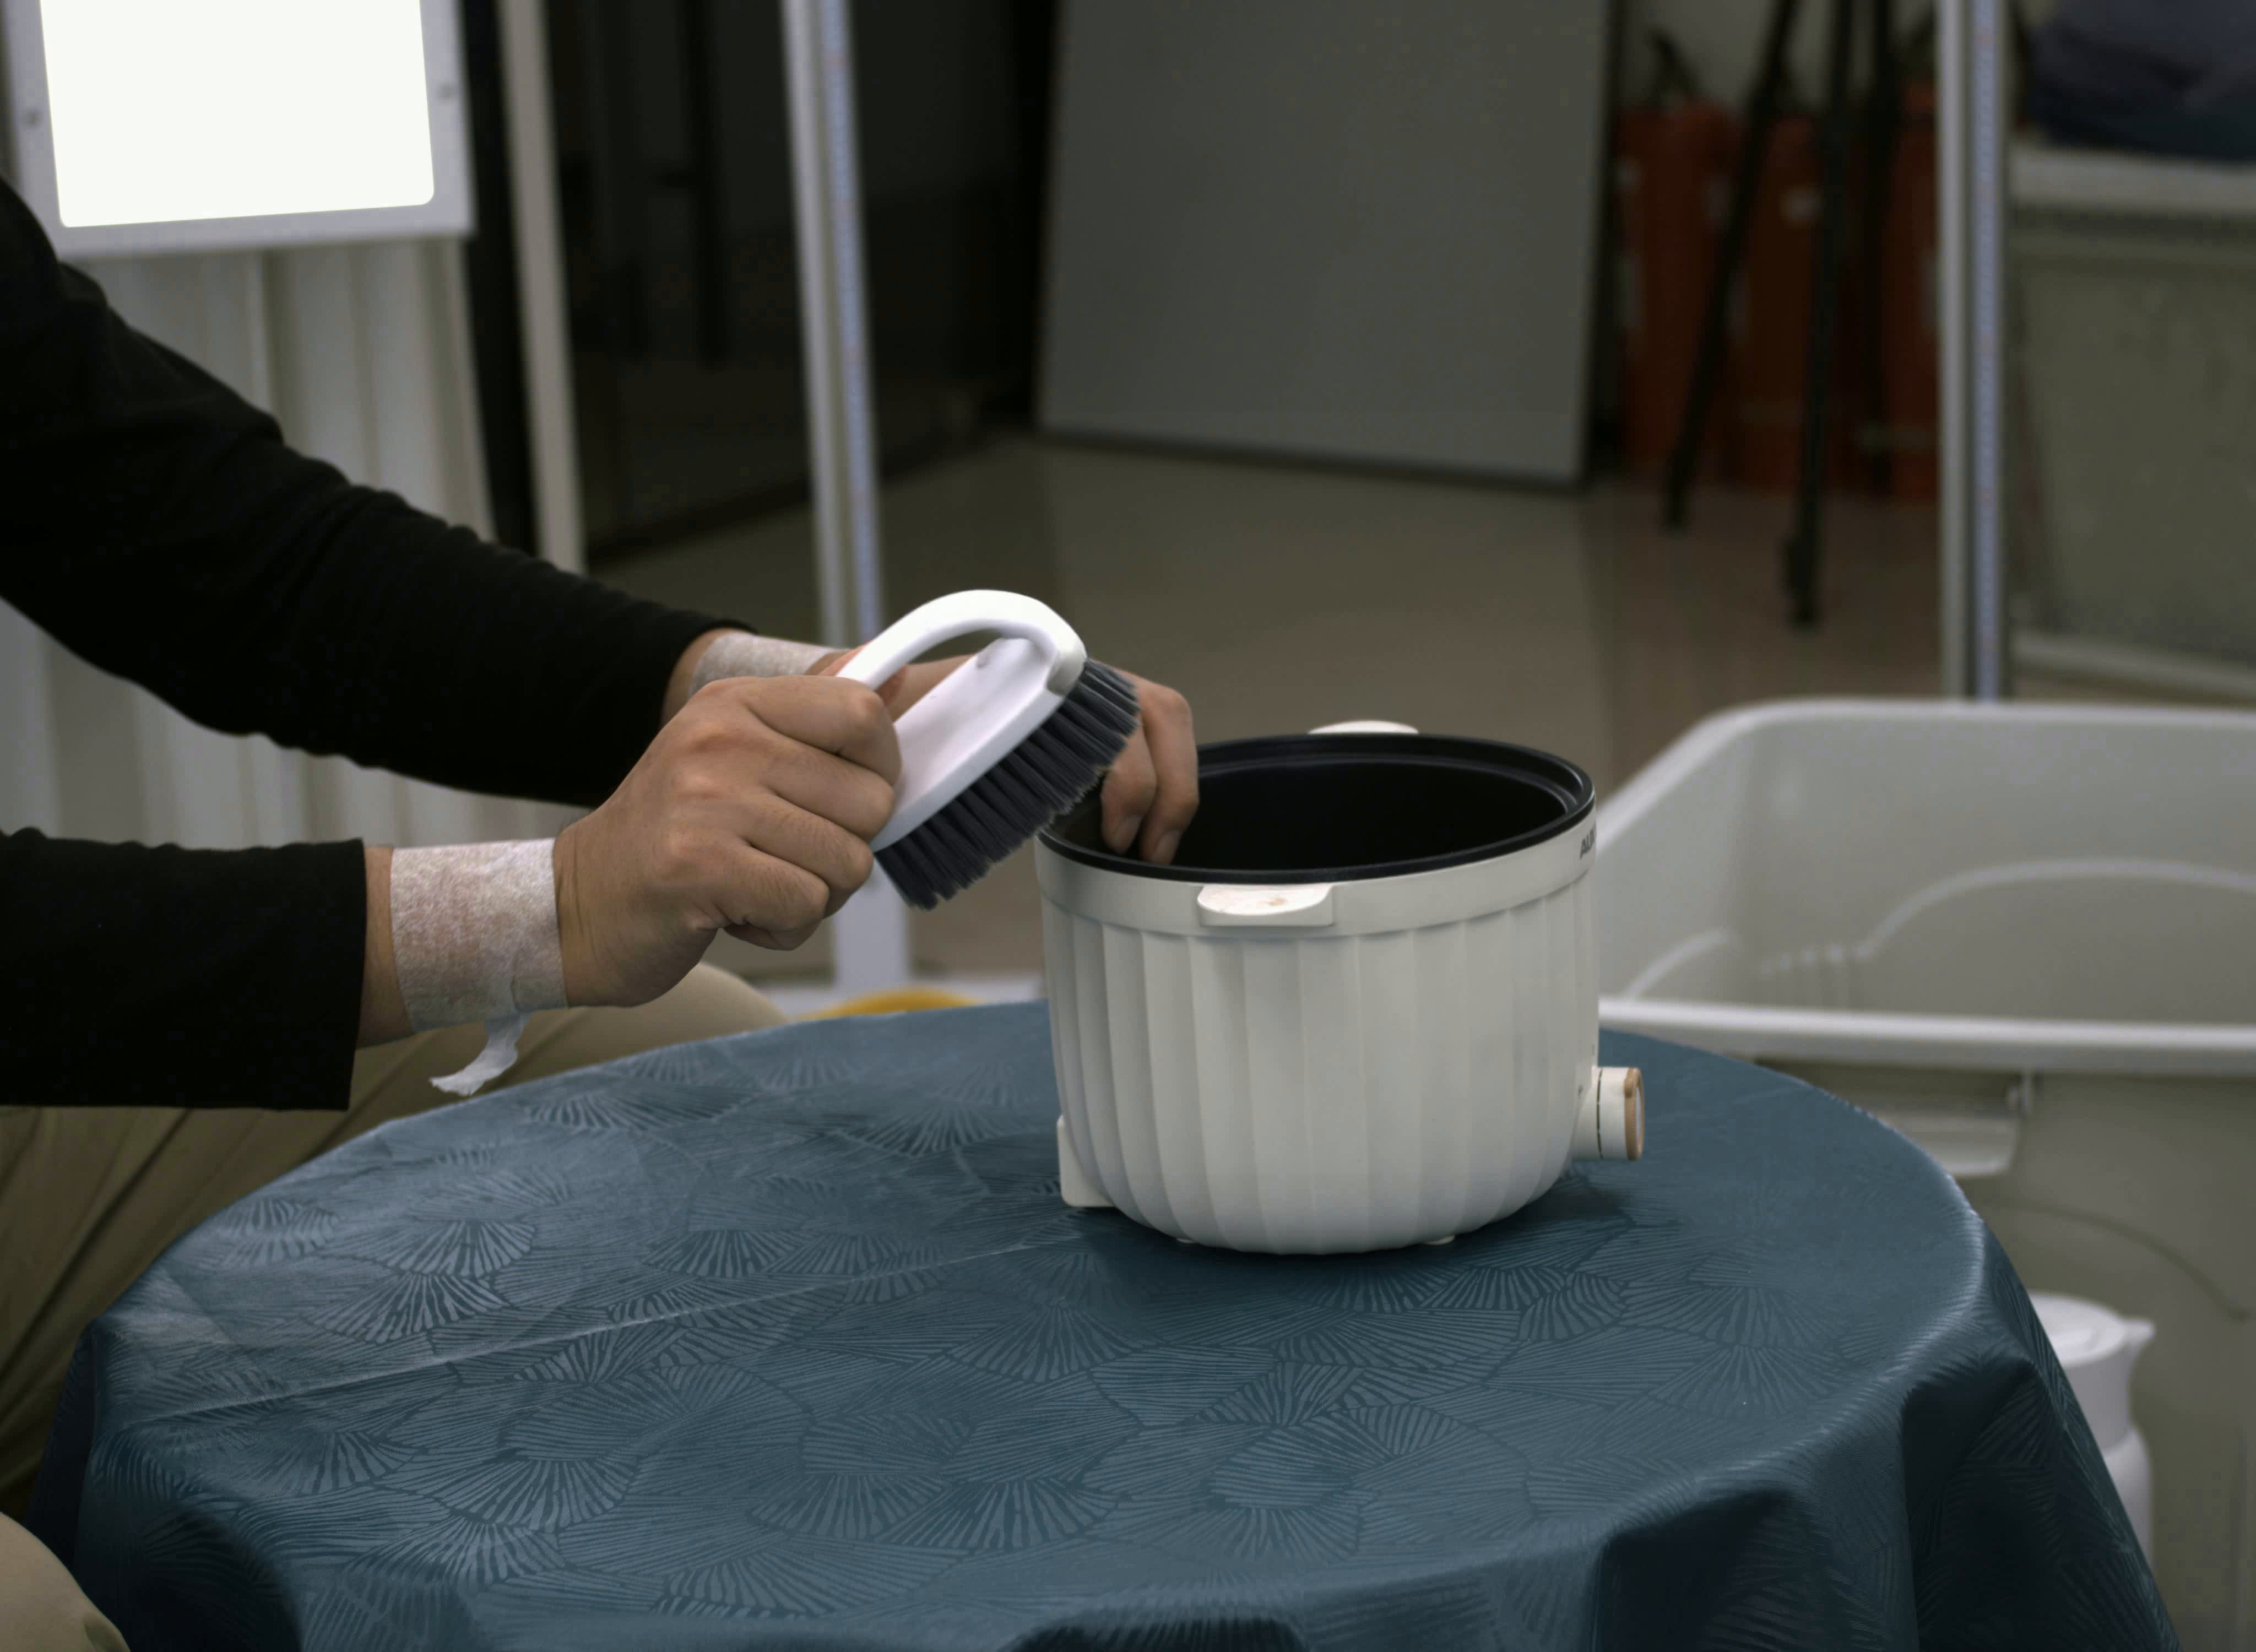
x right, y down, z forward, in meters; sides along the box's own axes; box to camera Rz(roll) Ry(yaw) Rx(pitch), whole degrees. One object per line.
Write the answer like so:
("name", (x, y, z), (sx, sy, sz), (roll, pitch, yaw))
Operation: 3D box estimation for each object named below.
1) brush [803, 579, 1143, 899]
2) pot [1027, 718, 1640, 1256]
("brush", (-0.054, -0.033, 1.633), (0.099, 0.071, 0.050), (-38, 30, 16))
("pot", (0.067, 0.054, 1.732), (0.189, 0.144, 0.239), (-4, 15, 12))
